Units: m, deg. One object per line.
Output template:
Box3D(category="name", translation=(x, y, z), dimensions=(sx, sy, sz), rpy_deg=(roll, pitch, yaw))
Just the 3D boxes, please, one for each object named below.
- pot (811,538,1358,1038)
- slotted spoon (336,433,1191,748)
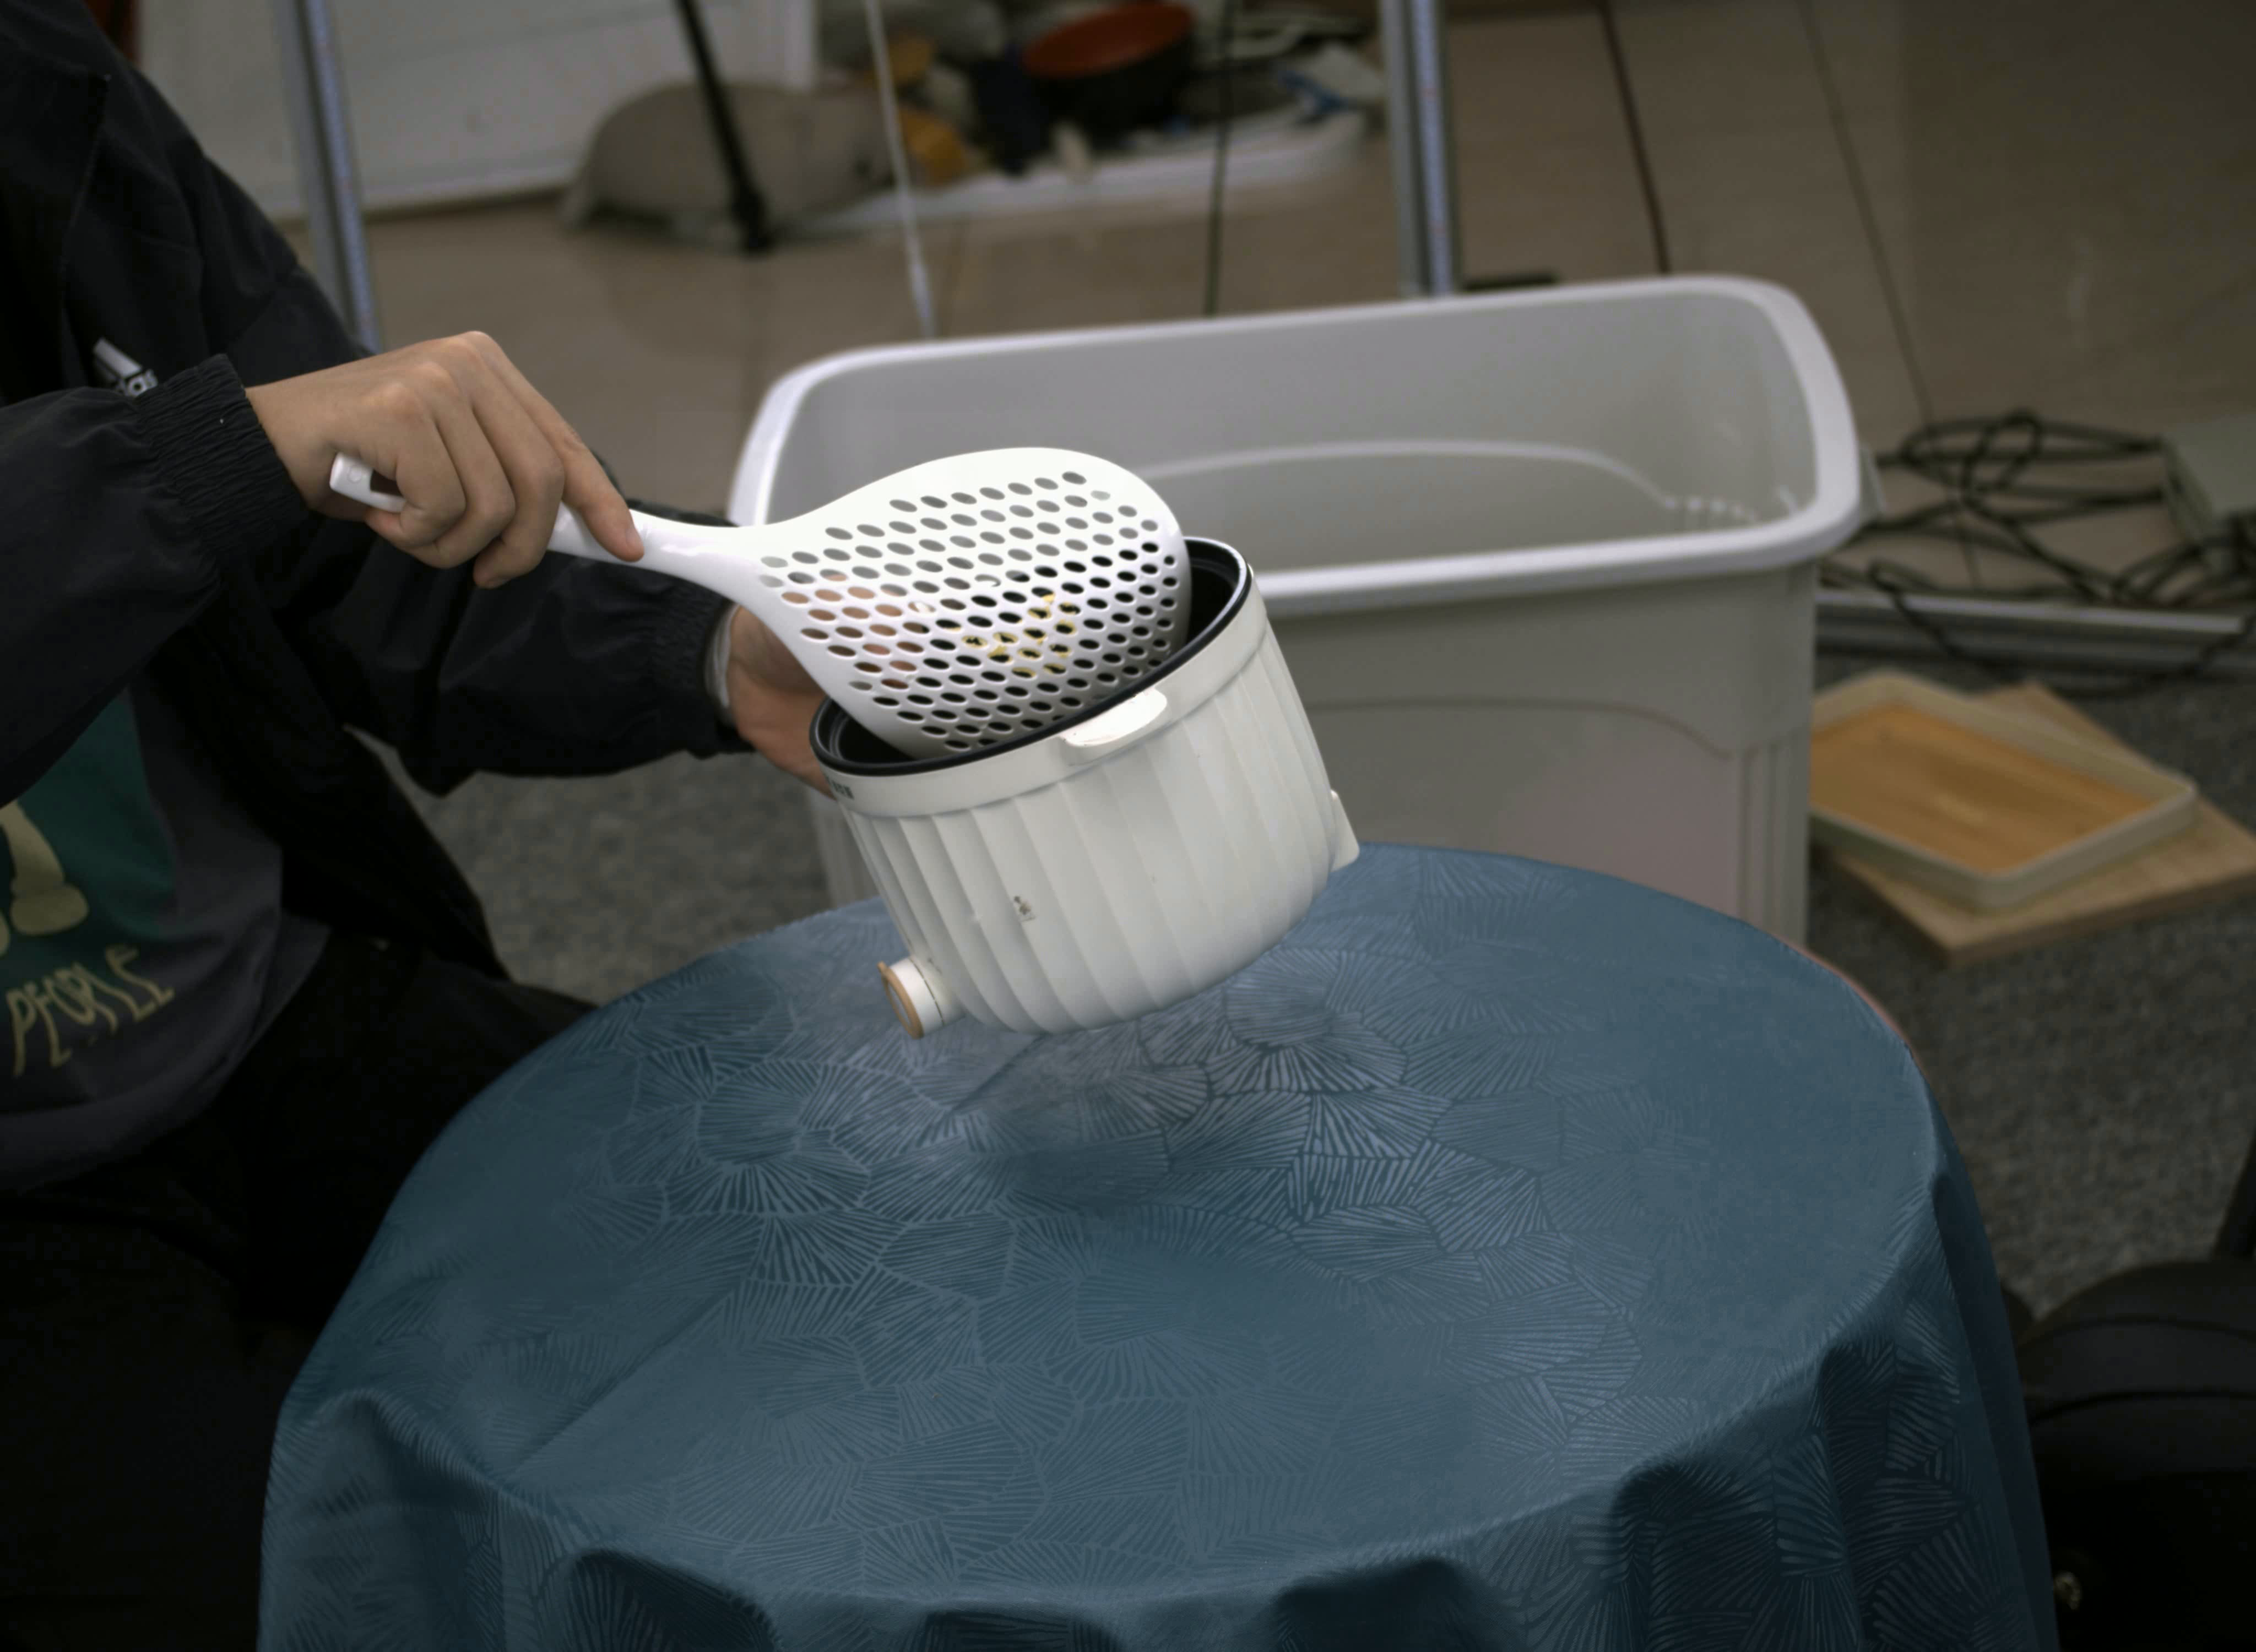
Box3D(category="pot", translation=(-0.018, -0.007, 2.173), dimensions=(0.190, 0.144, 0.238), rpy_deg=(-24, 20, -12))
Box3D(category="slotted spoon", translation=(-0.132, -0.098, 2.104), dimensions=(0.348, 0.138, 0.050), rpy_deg=(12, 11, -21))
